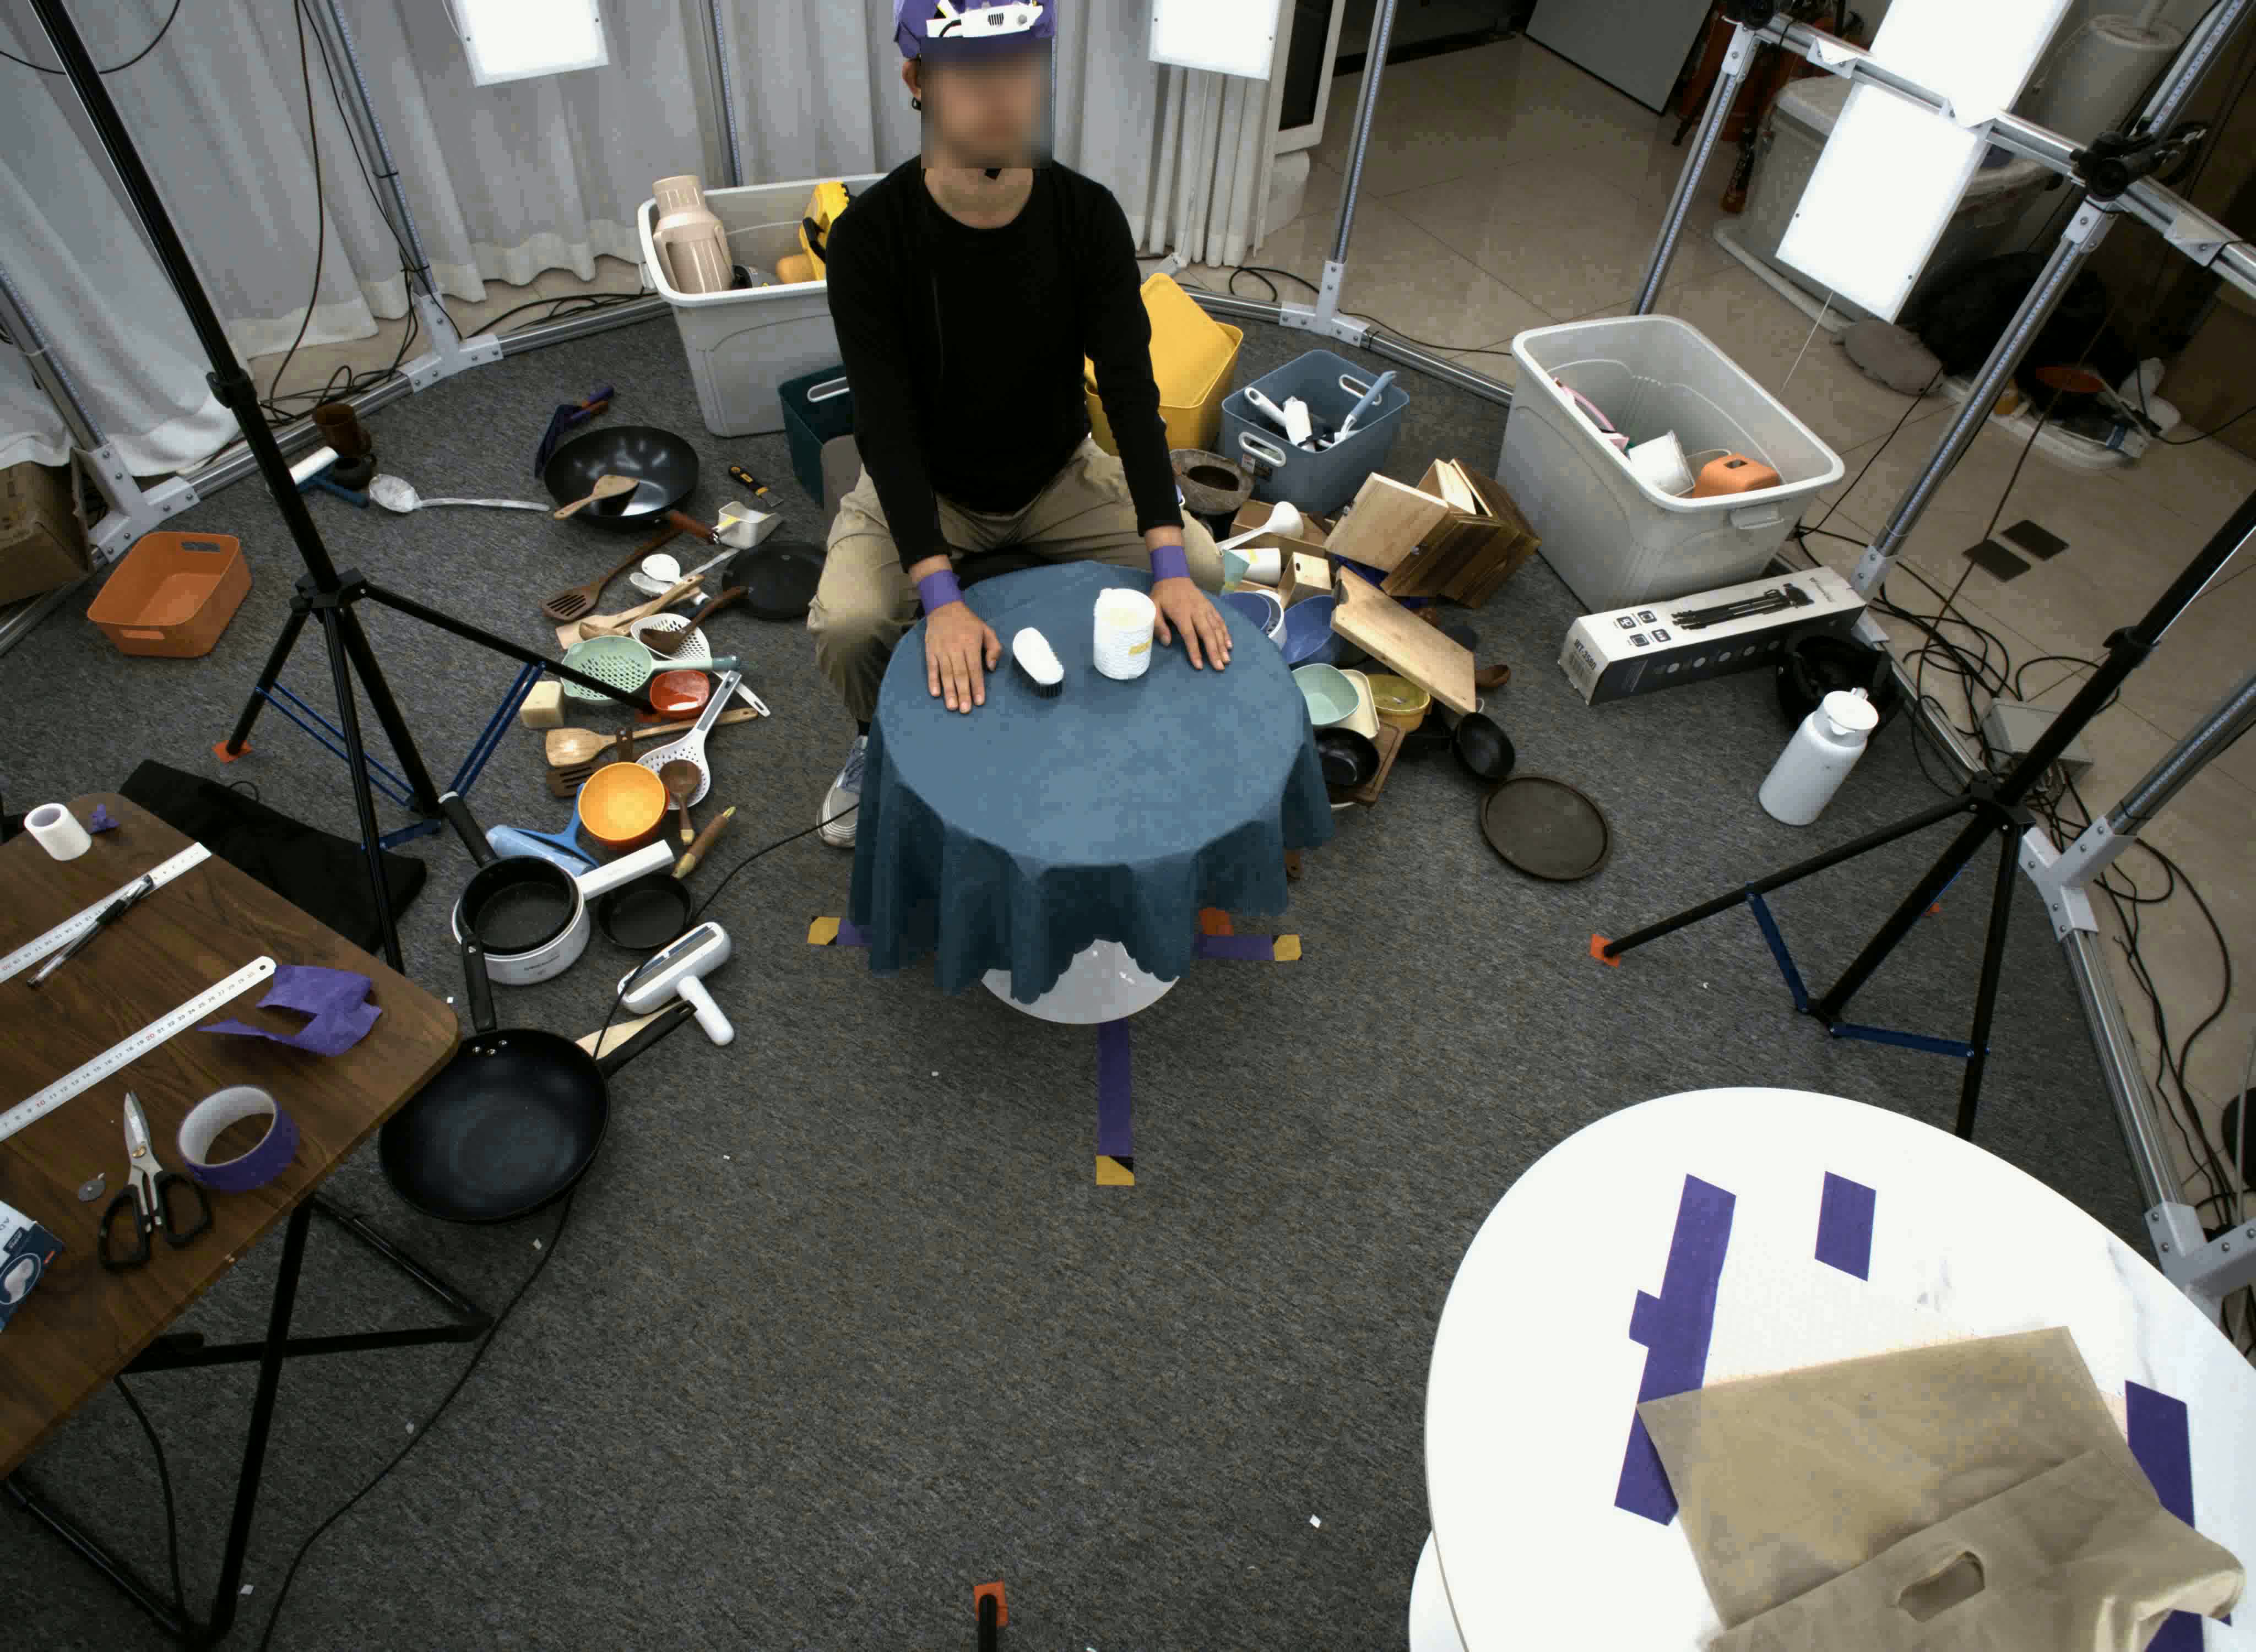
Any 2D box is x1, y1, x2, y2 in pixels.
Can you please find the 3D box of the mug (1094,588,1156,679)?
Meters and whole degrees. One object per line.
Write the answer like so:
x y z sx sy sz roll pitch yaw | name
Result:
-0.013 -0.285 1.846 0.085 0.099 0.121 -16 51 -17 | mug

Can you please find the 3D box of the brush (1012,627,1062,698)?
-0.128 -0.239 1.817 0.050 0.071 0.101 -21 54 -23 | brush
